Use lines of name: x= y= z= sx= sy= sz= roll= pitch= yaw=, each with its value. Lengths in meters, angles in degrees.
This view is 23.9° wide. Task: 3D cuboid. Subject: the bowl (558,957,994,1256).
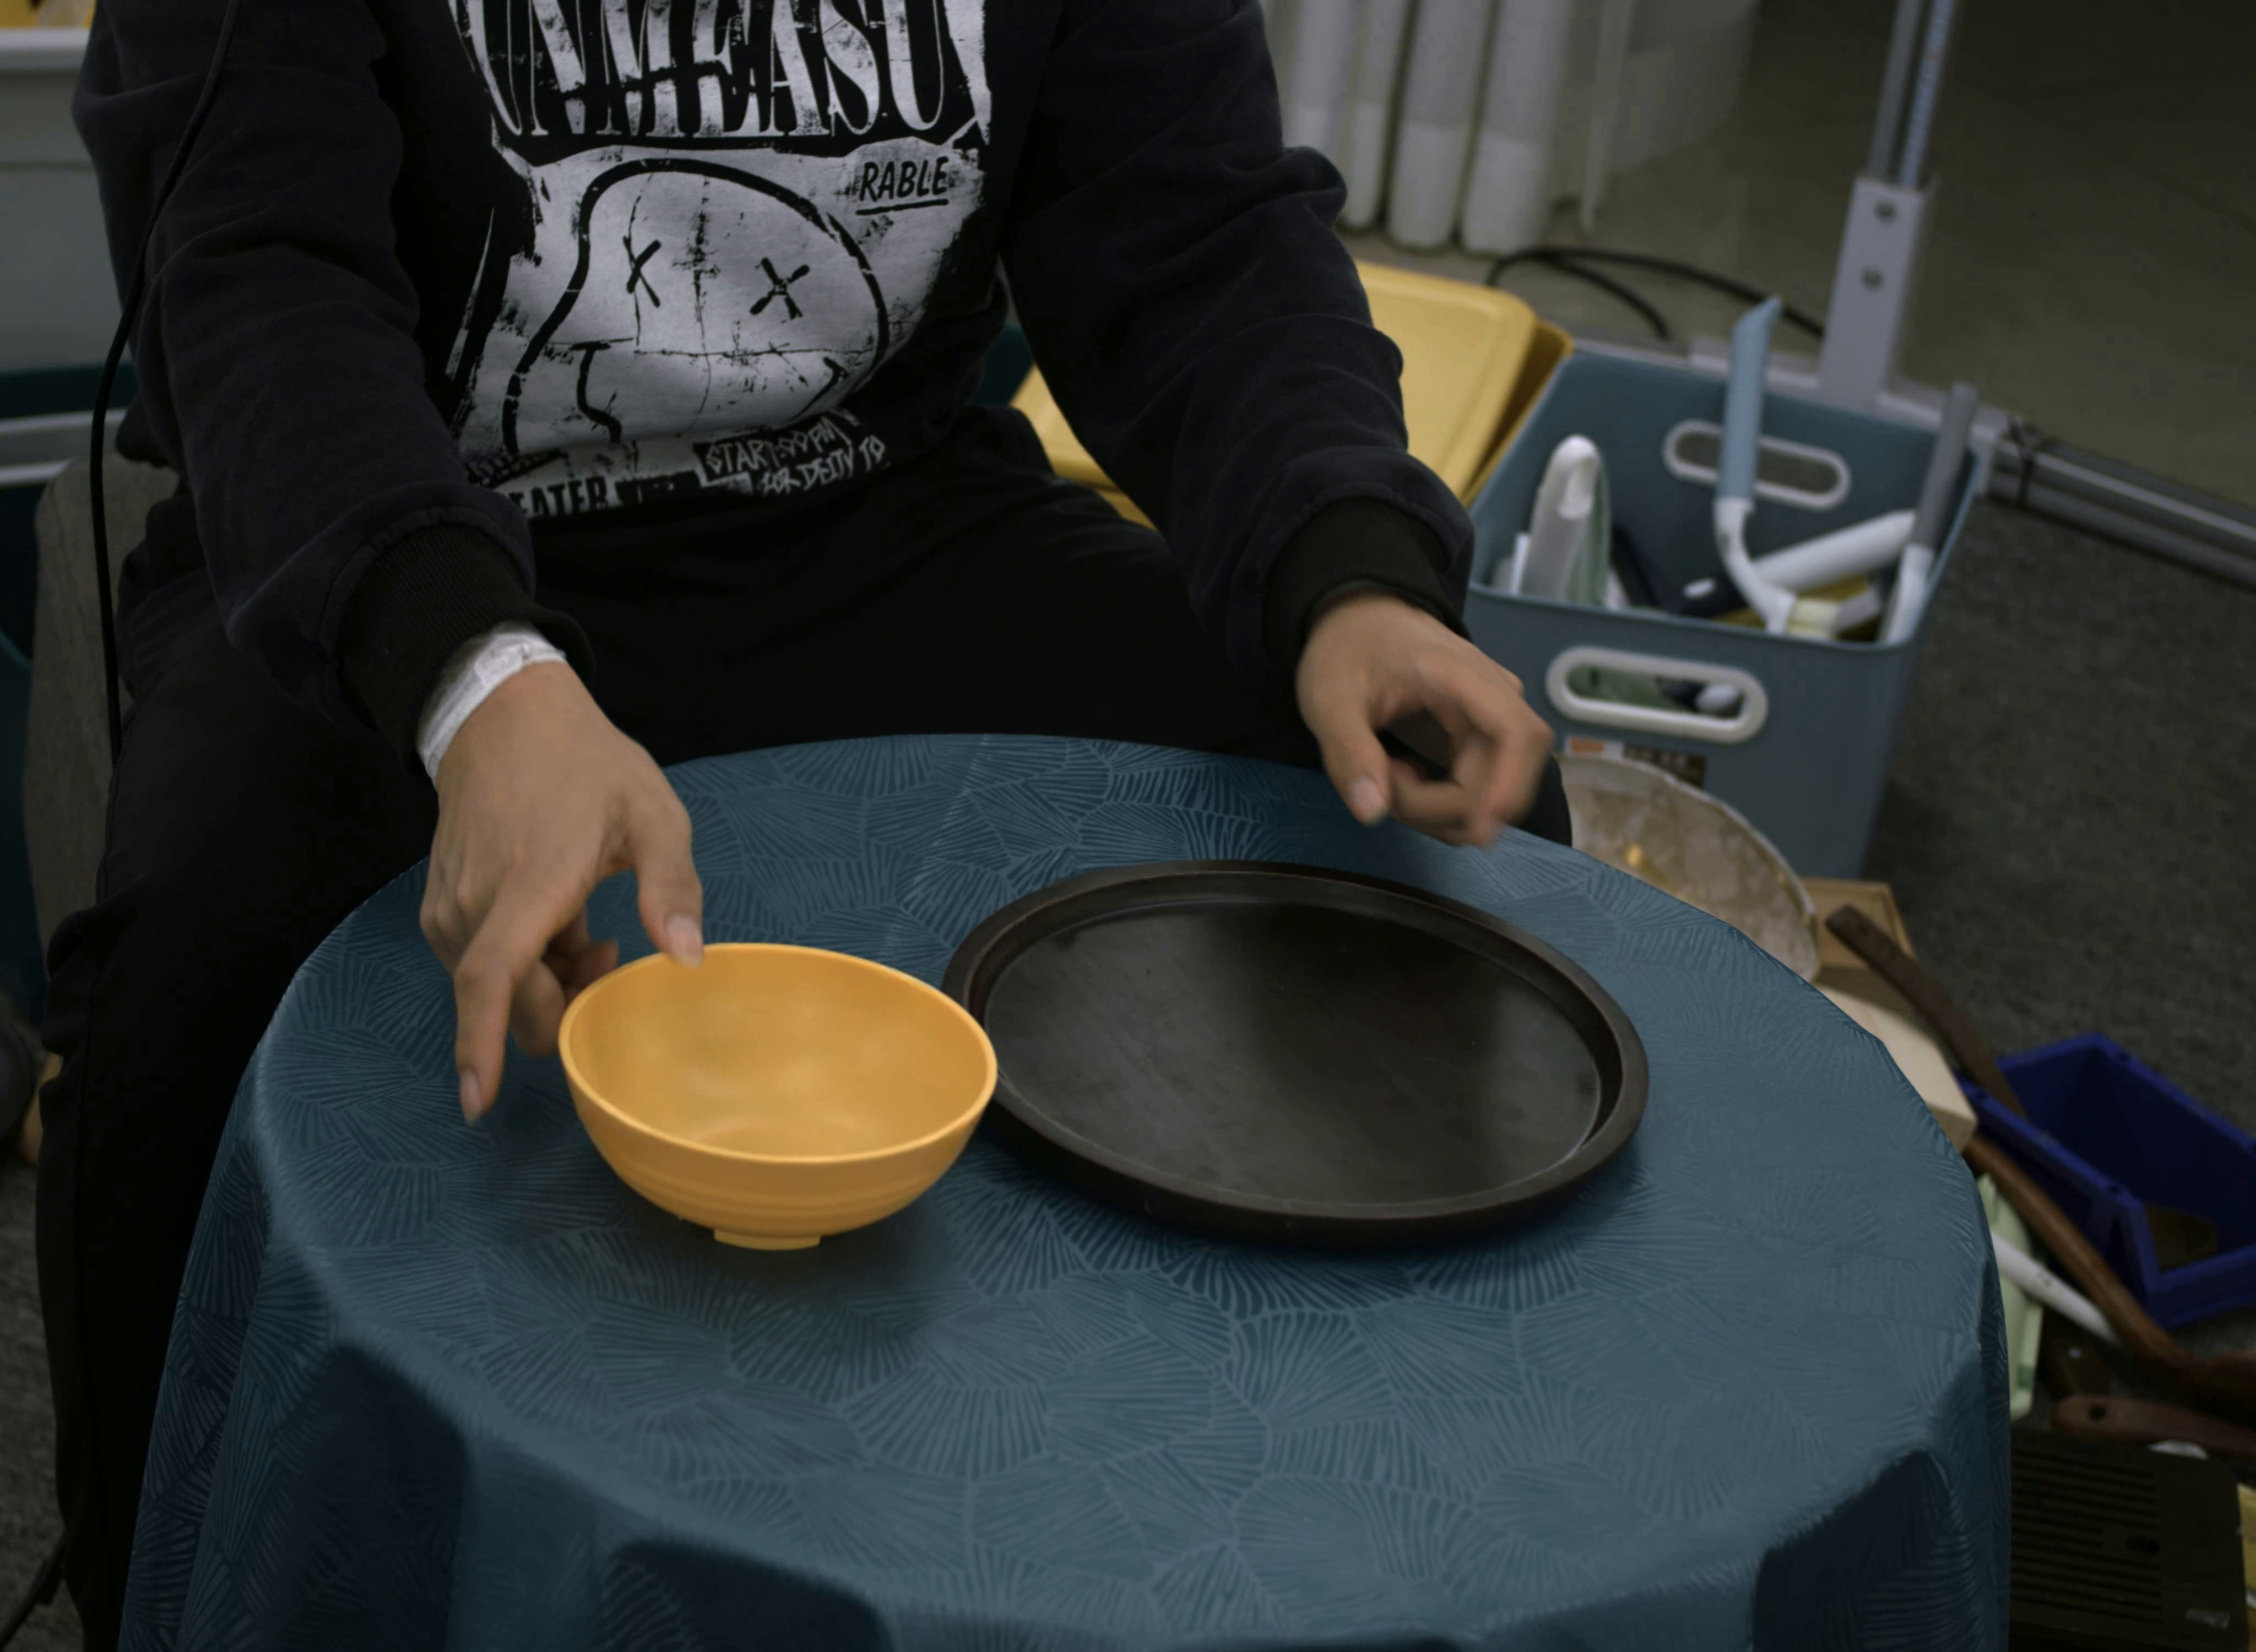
bowl: x=-0.119 y=0.101 z=1.758 sx=0.145 sy=0.060 sz=0.146 roll=6 pitch=24 yaw=-3

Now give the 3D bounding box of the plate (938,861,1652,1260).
plate: x=0.059 y=0.081 z=1.874 sx=0.254 sy=0.029 sz=0.256 roll=3 pitch=27 yaw=-2
